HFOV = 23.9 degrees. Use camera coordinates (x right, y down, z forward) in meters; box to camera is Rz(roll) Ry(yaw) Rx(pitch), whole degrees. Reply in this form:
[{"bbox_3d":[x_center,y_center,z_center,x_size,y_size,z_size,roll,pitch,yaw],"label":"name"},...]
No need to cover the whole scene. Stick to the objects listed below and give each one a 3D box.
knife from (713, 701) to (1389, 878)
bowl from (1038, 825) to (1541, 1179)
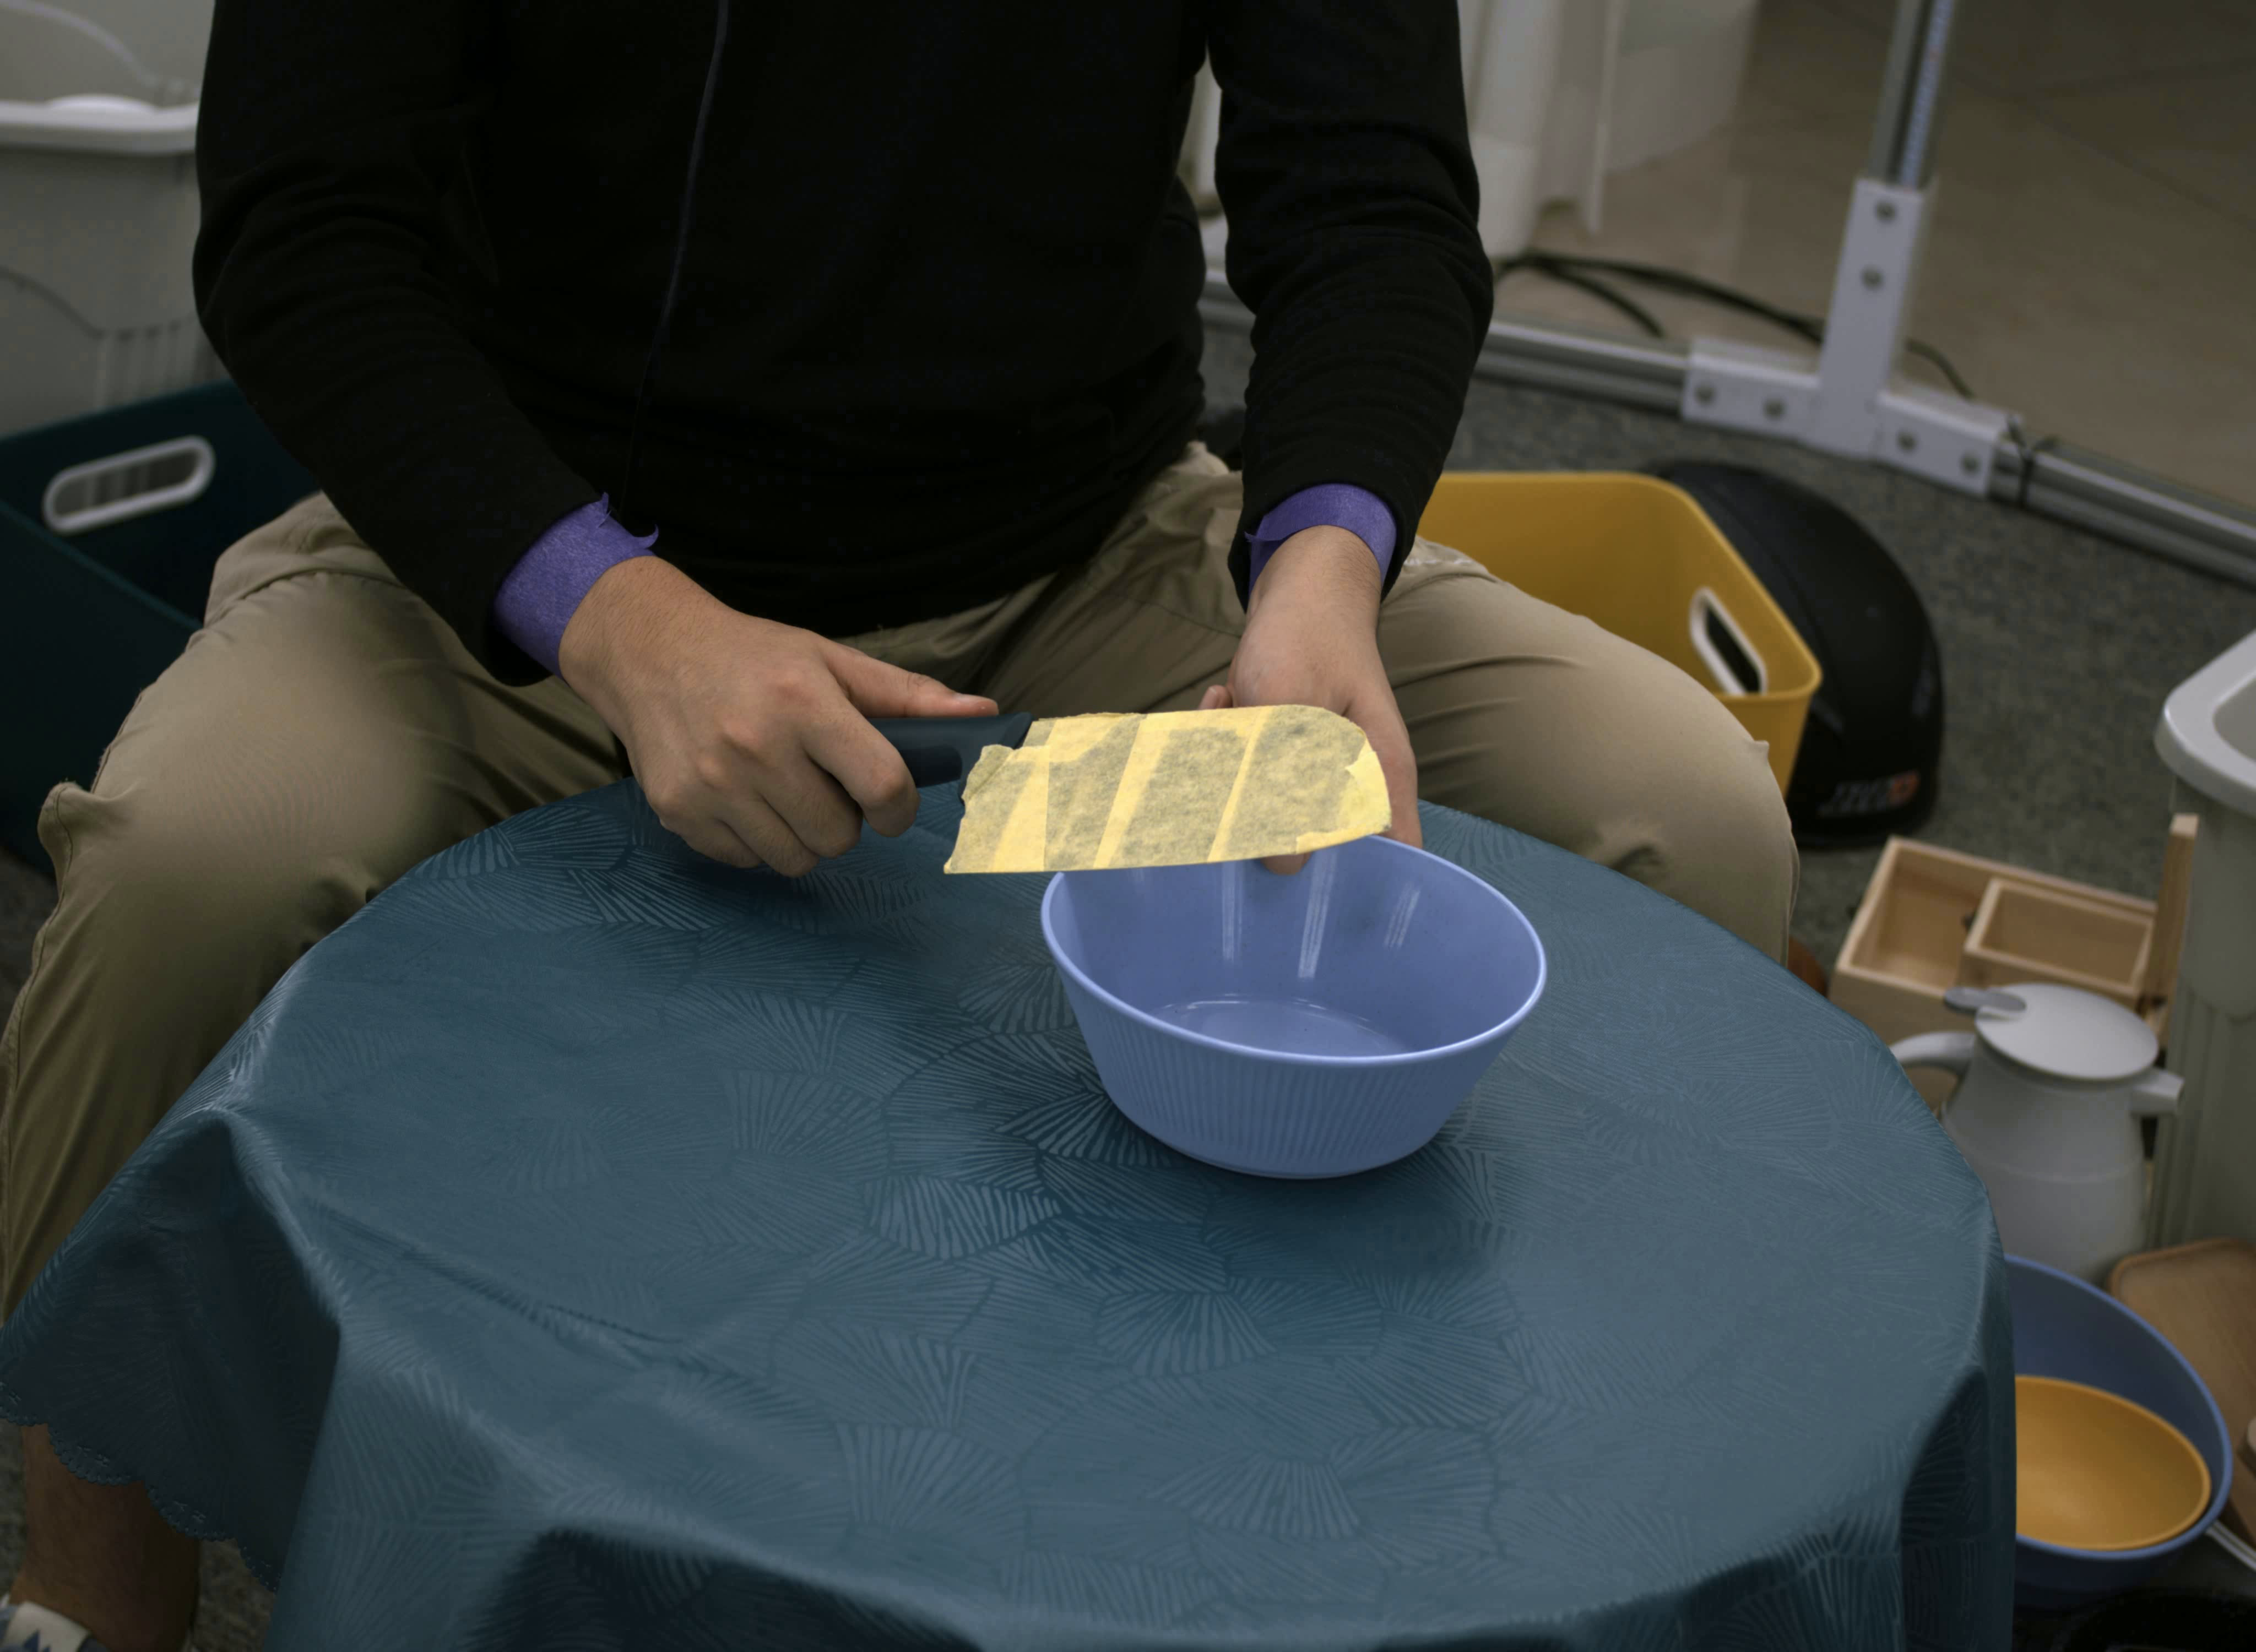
[{"bbox_3d":[-0.033,-0.012,1.901,0.290,0.027,0.081,-2,45,32],"label":"knife"},{"bbox_3d":[0.053,0.067,1.853,0.175,0.070,0.177,5,27,-3],"label":"bowl"}]
